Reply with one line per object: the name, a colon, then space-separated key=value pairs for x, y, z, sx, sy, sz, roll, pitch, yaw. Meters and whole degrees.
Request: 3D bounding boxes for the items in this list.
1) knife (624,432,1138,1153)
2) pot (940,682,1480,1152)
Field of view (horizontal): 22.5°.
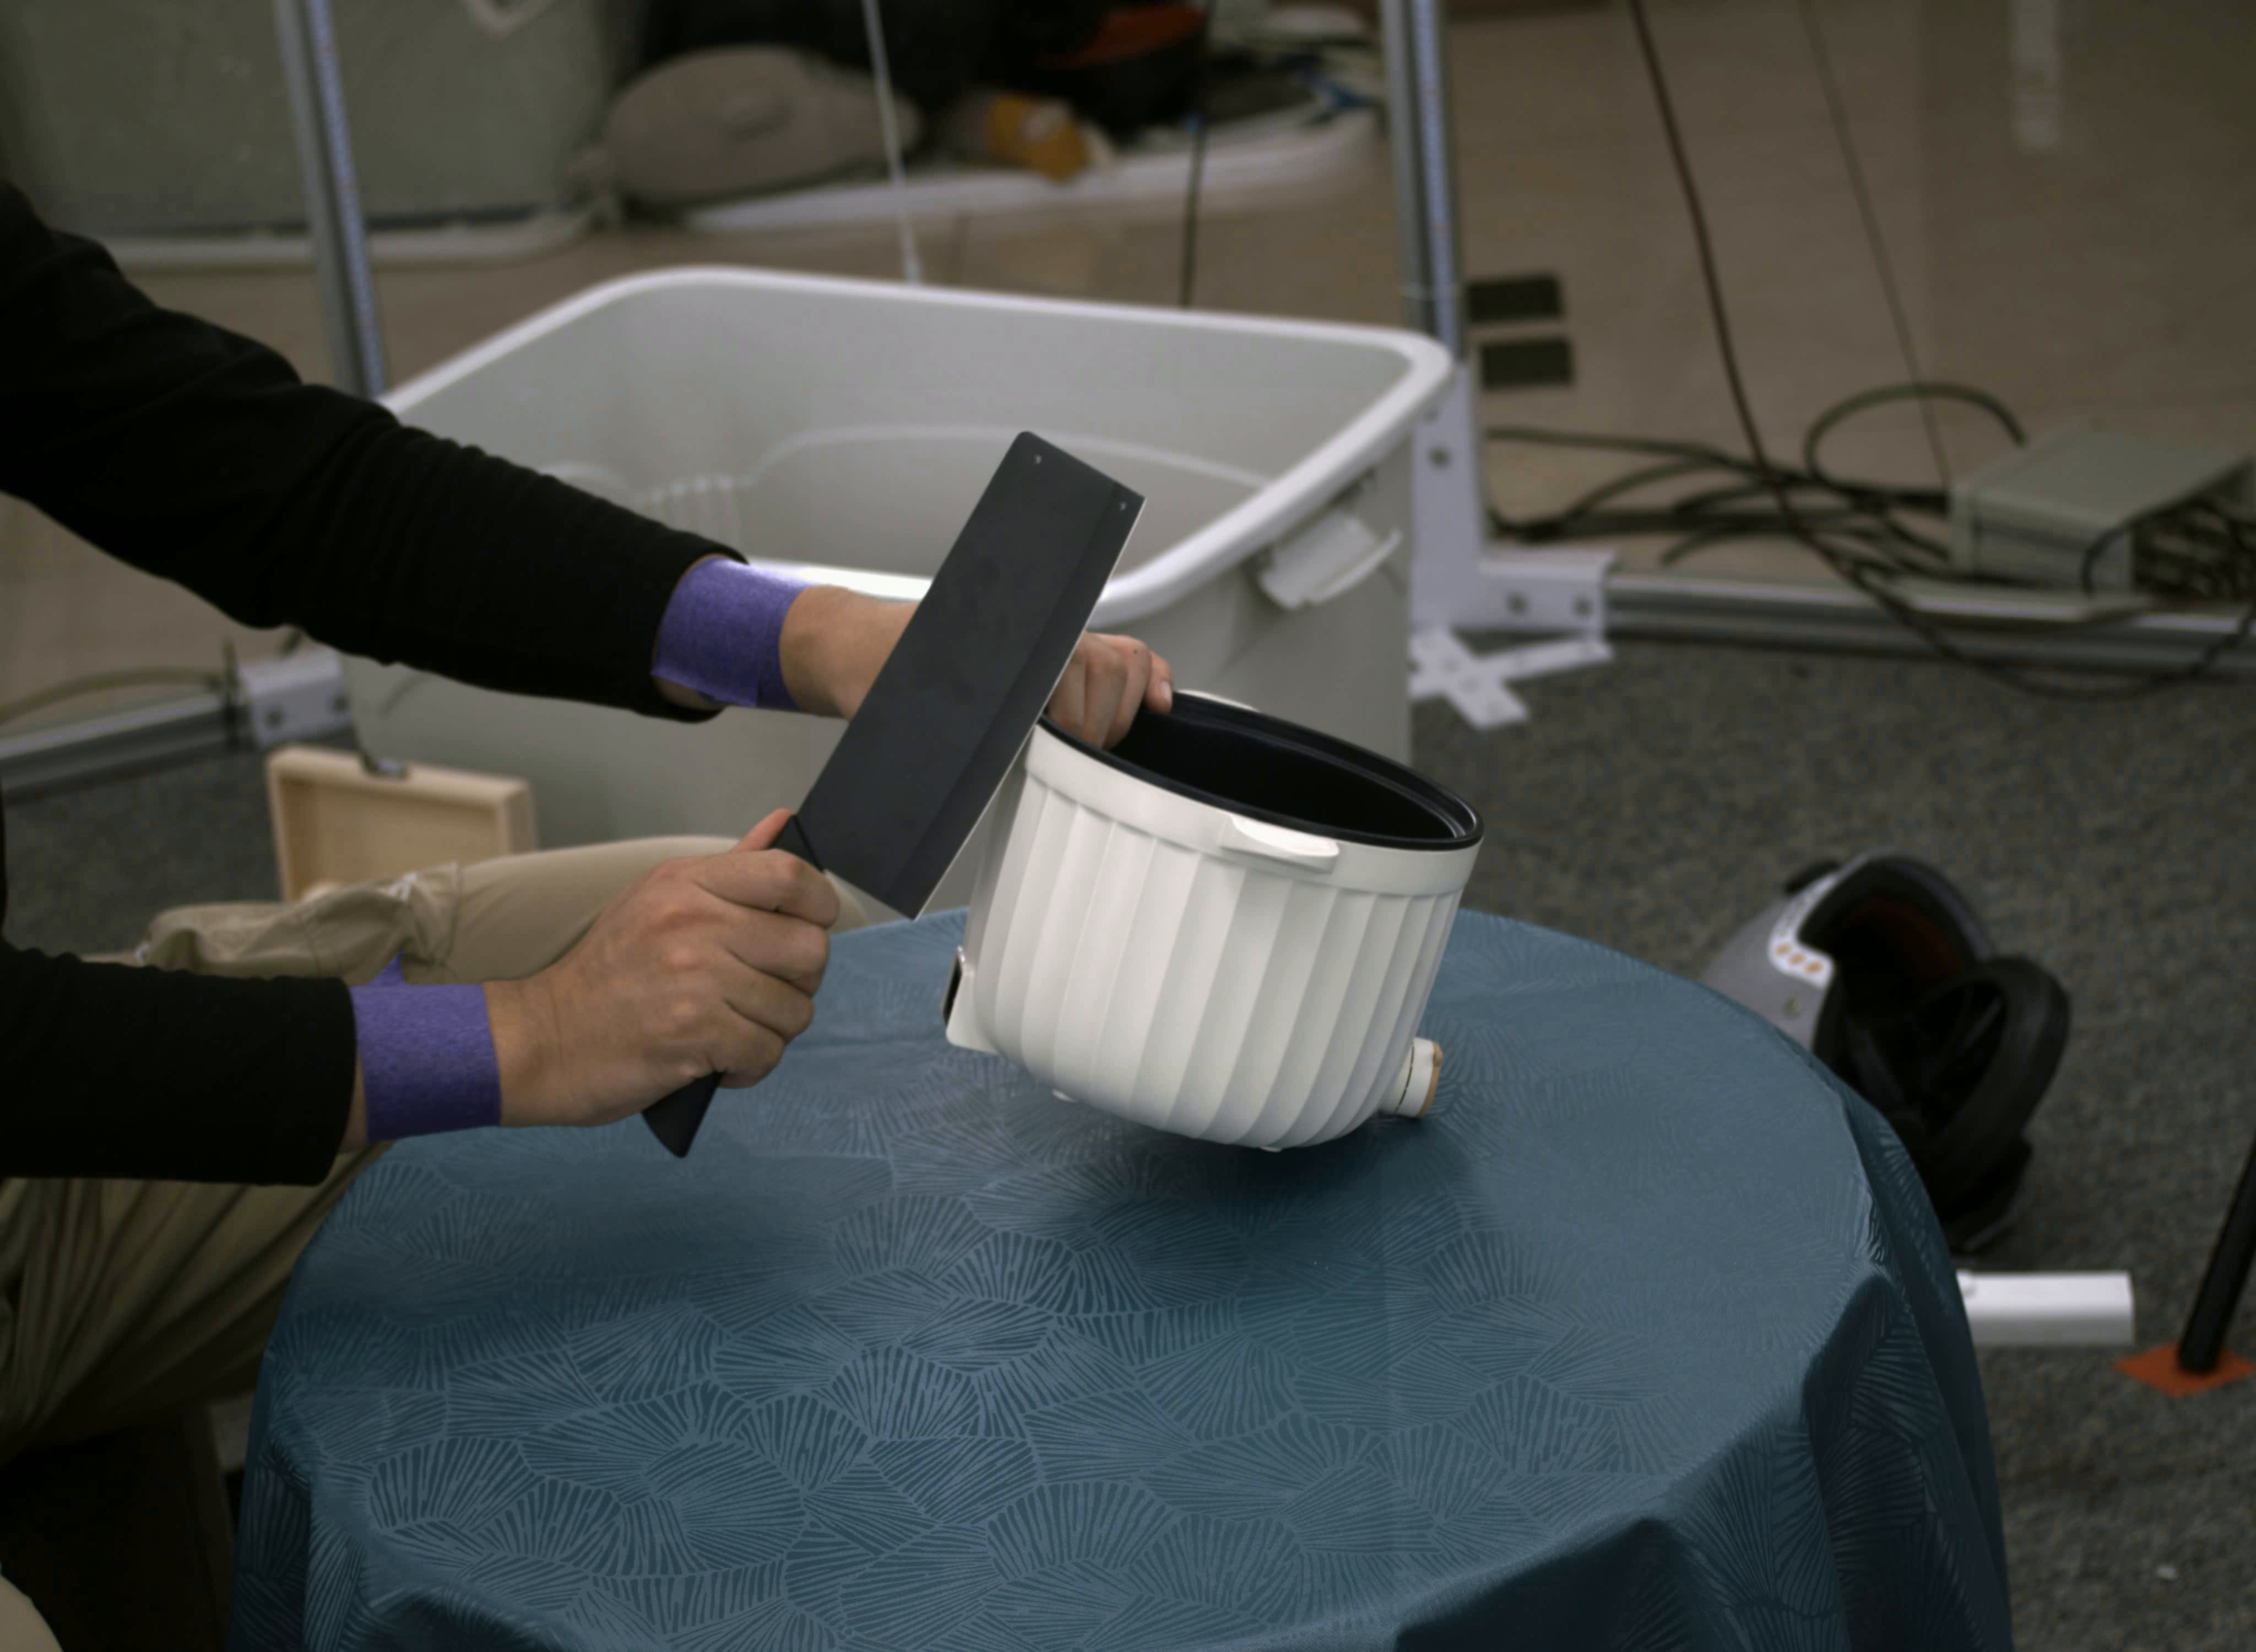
knife: x=-0.096 y=-0.008 z=2.116 sx=0.080 sy=0.303 sz=0.021 roll=37 pitch=5 yaw=23
pot: x=0.034 y=0.038 z=2.152 sx=0.190 sy=0.144 sz=0.238 roll=11 pitch=15 yaw=-9
